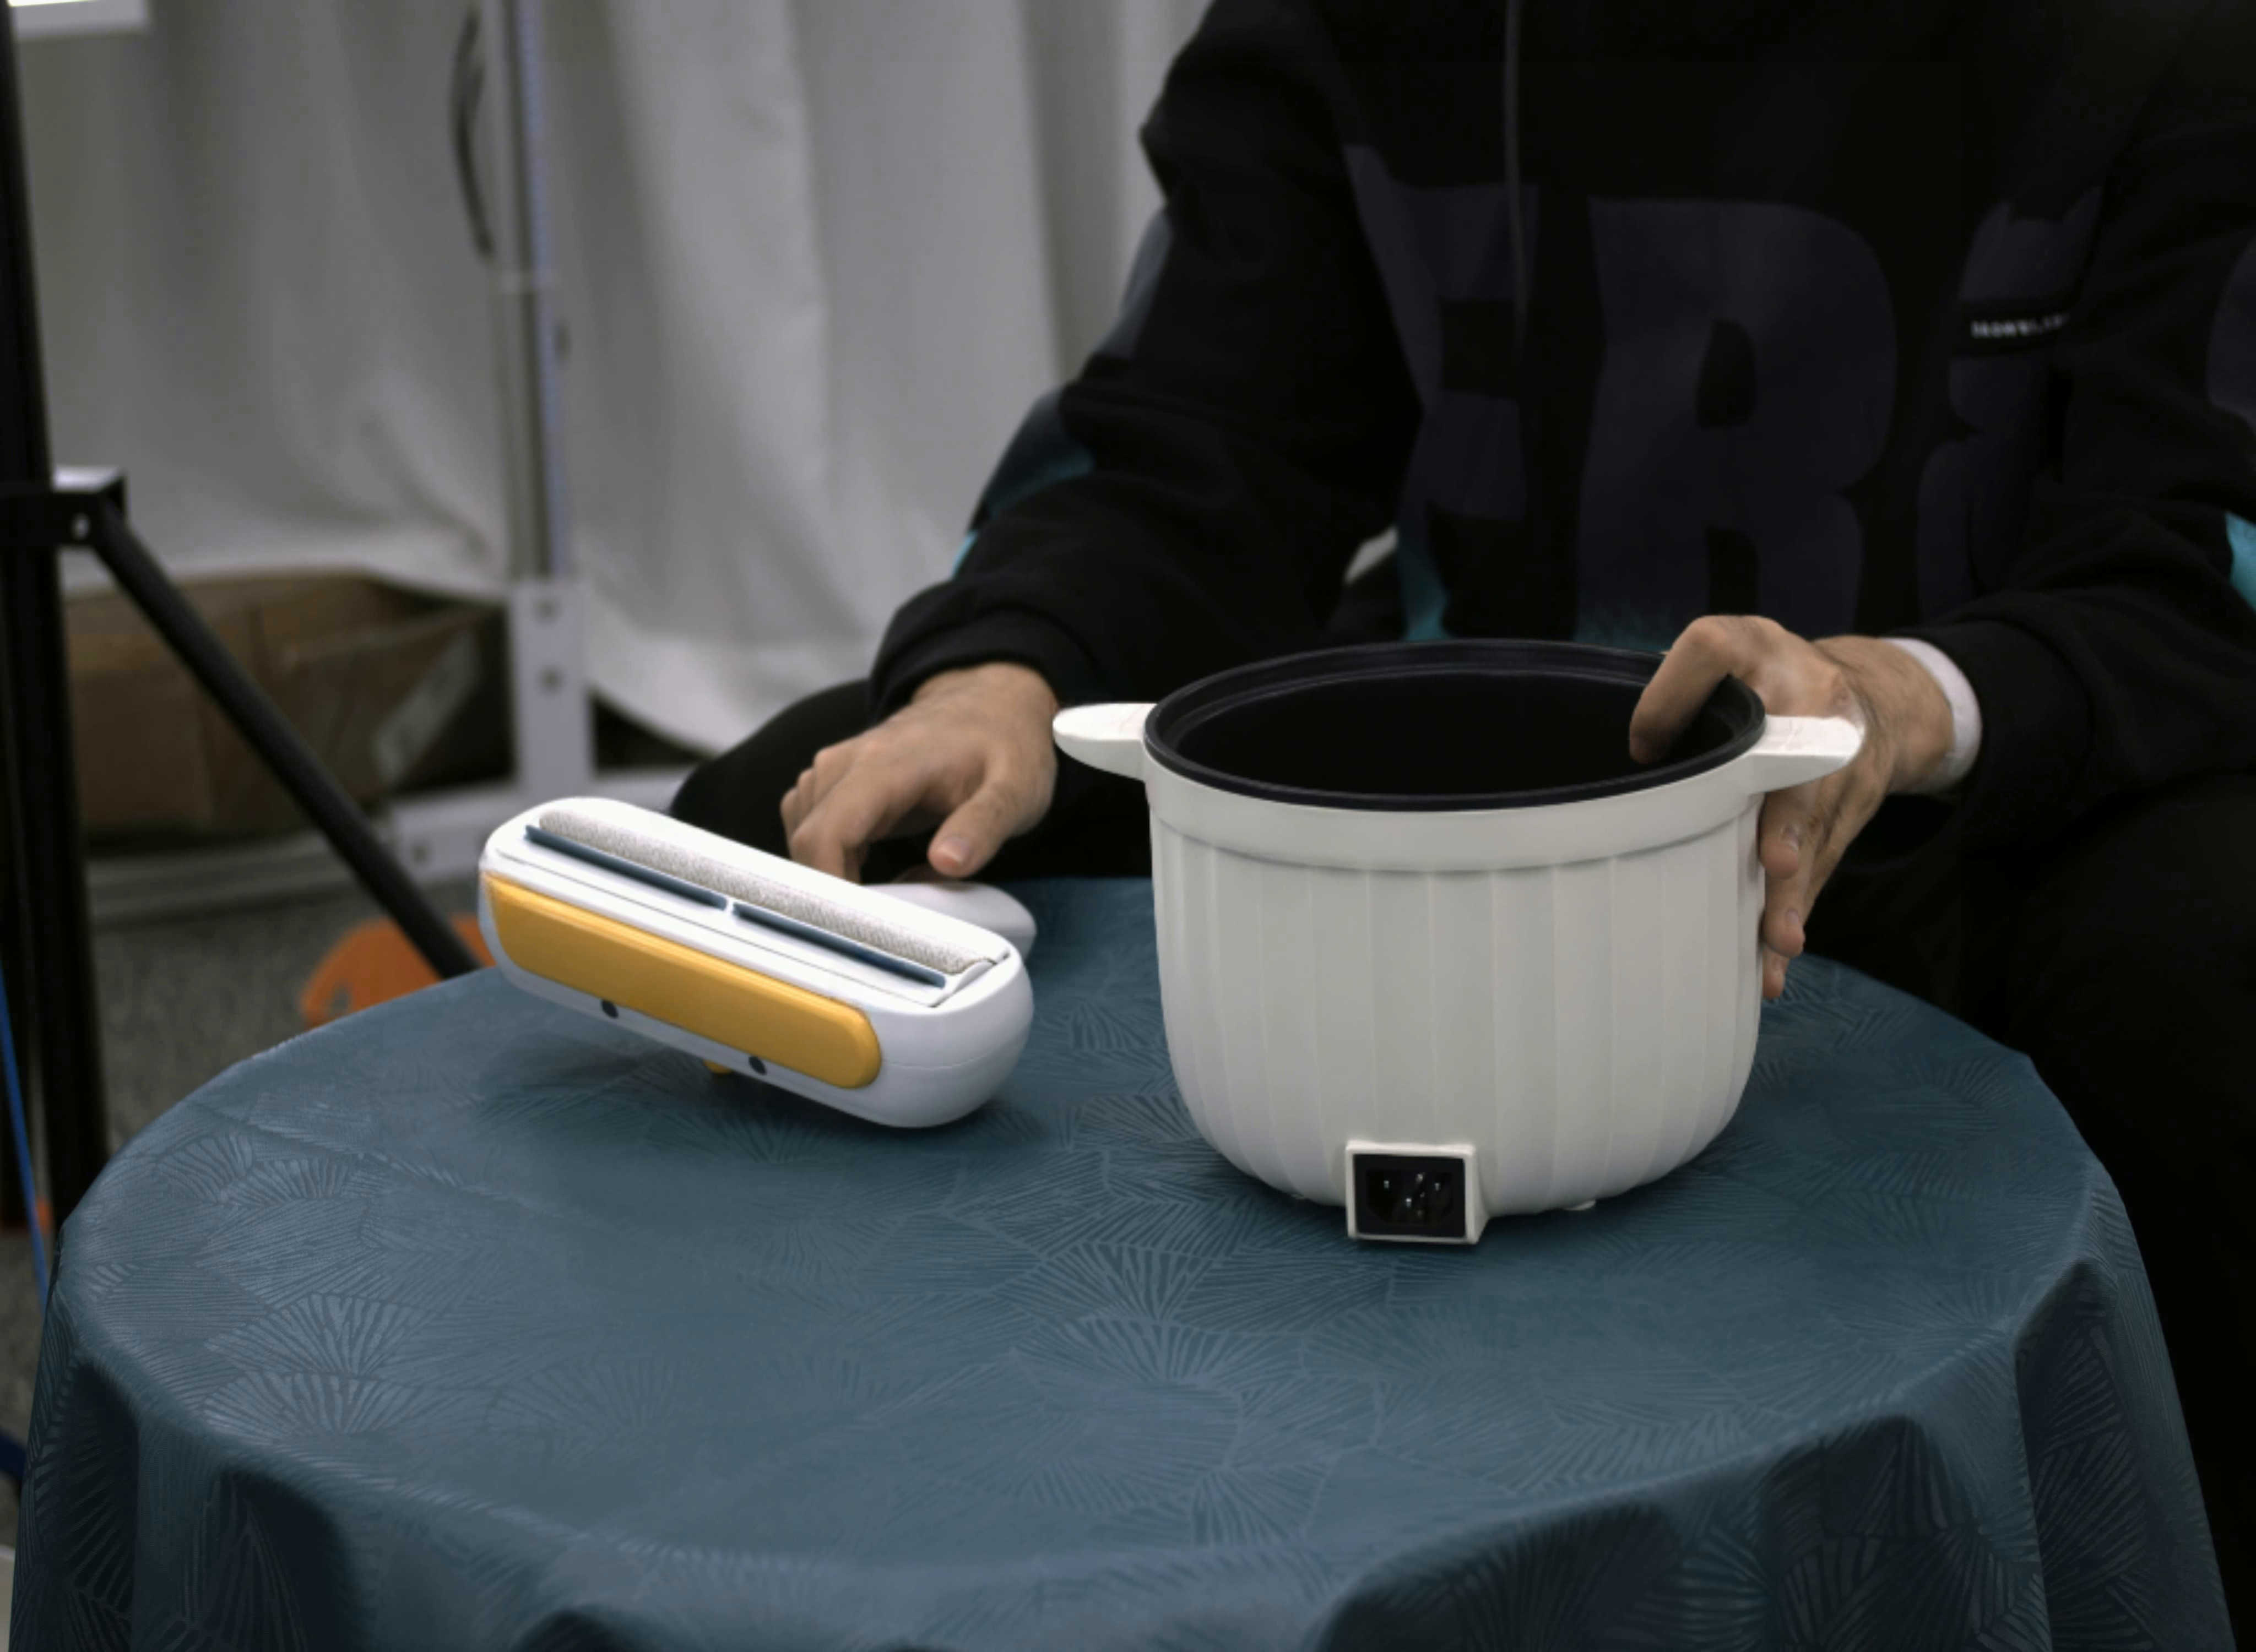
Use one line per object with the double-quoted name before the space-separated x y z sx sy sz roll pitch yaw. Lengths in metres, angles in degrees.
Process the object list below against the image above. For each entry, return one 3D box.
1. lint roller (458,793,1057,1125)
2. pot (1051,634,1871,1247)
"lint roller" -0.090 0.034 1.710 0.197 0.074 0.188 15 22 35
"pot" 0.097 0.030 1.561 0.242 0.142 0.189 3 19 14
